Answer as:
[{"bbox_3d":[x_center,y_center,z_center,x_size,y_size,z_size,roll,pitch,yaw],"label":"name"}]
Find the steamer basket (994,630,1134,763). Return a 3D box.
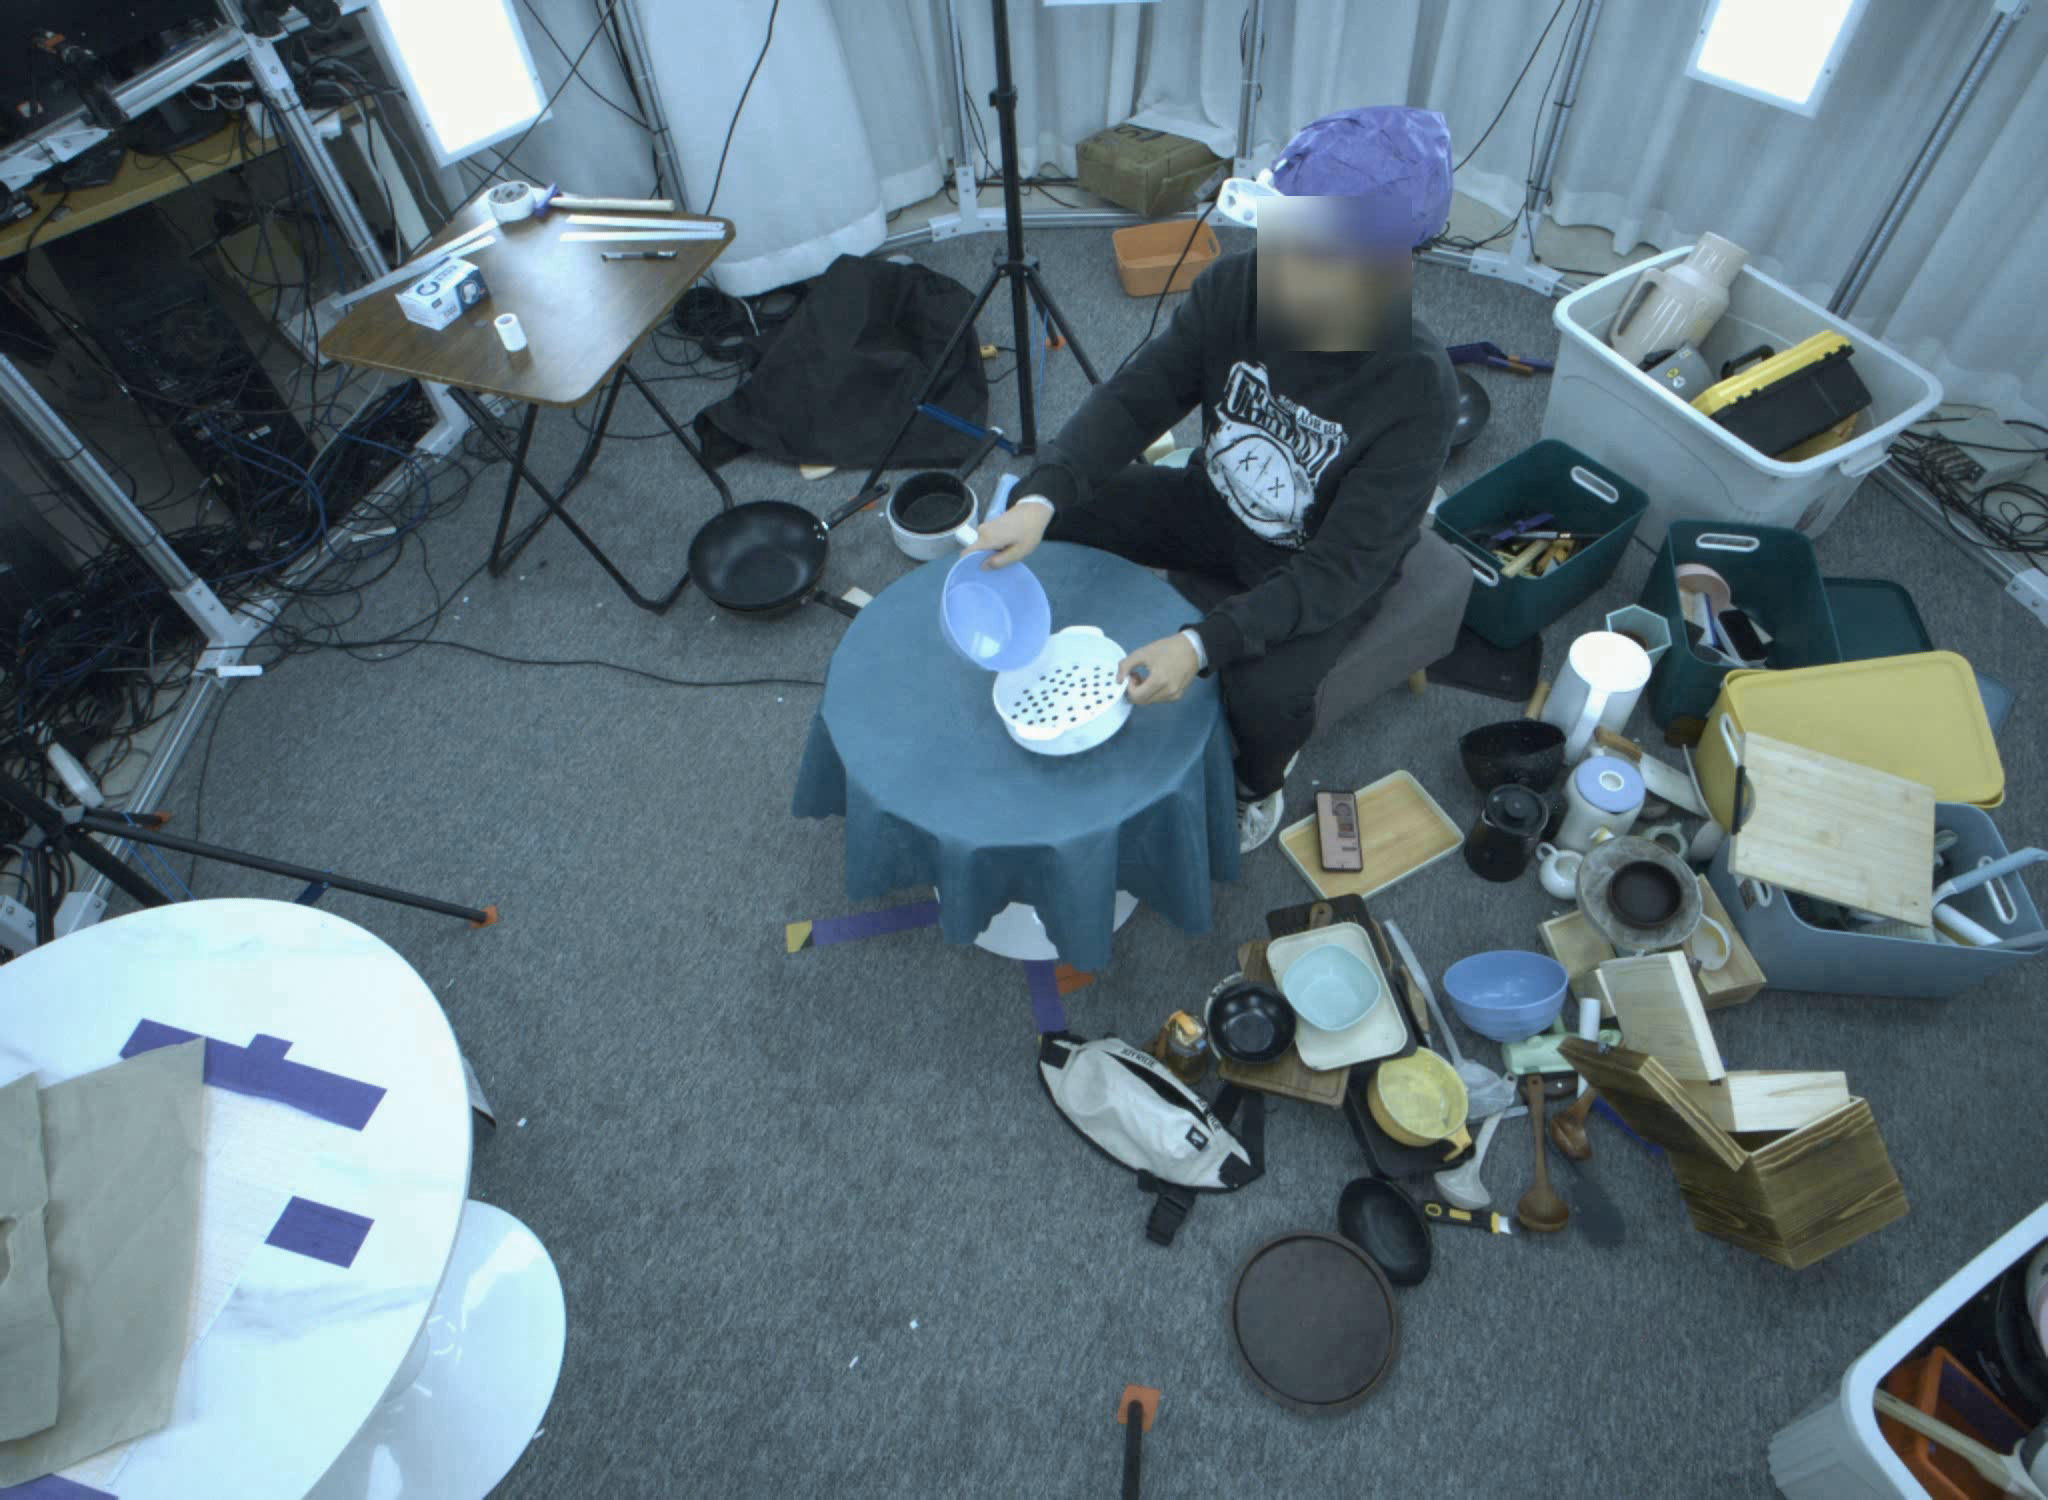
[{"bbox_3d":[0.061,-0.073,1.786,0.199,0.070,0.230,5,53,21],"label":"steamer basket"}]

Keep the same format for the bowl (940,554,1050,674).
[{"bbox_3d":[-0.053,-0.185,1.741,0.180,0.069,0.175,9,75,-34],"label":"bowl"}]
